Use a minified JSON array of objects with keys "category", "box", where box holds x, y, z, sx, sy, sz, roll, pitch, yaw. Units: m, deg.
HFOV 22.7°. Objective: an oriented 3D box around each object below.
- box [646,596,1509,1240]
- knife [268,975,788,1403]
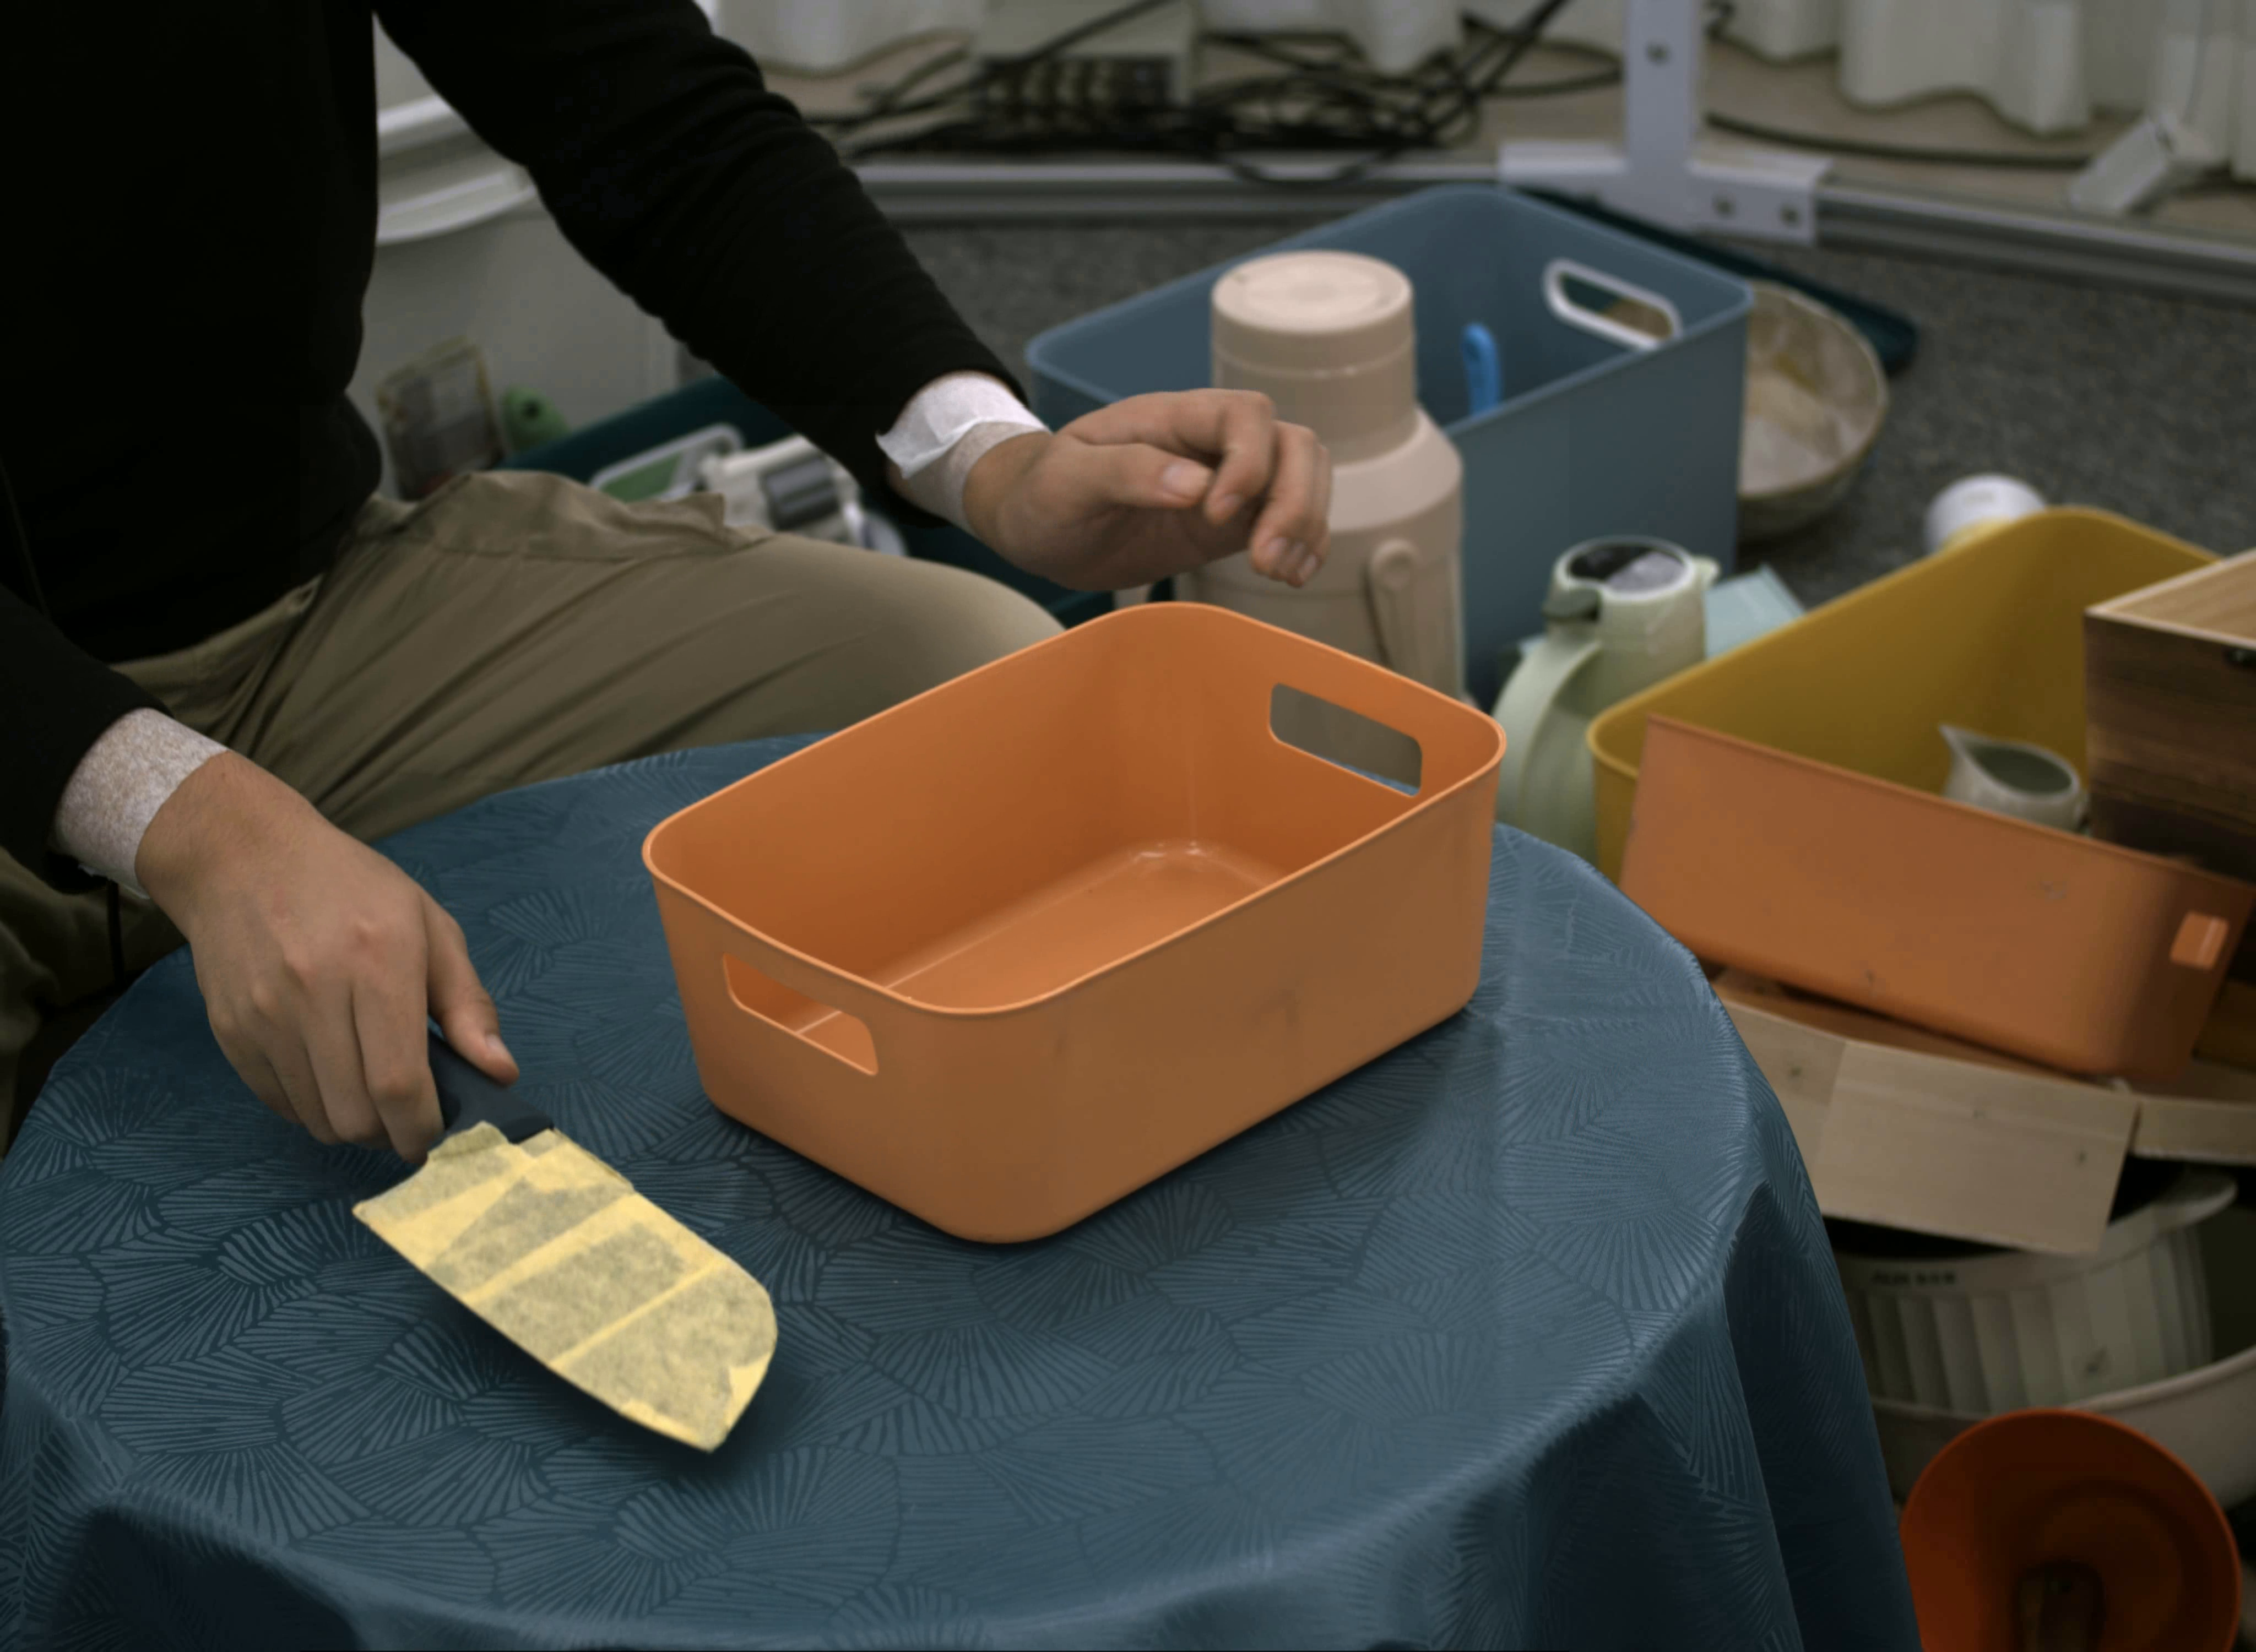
[{"category":"box","box":[-0.014,0.030,1.928,0.276,0.101,0.199,-26,36,-37]},{"category":"knife","box":[-0.205,0.118,1.814,0.082,0.027,0.290,-23,37,-32]}]
